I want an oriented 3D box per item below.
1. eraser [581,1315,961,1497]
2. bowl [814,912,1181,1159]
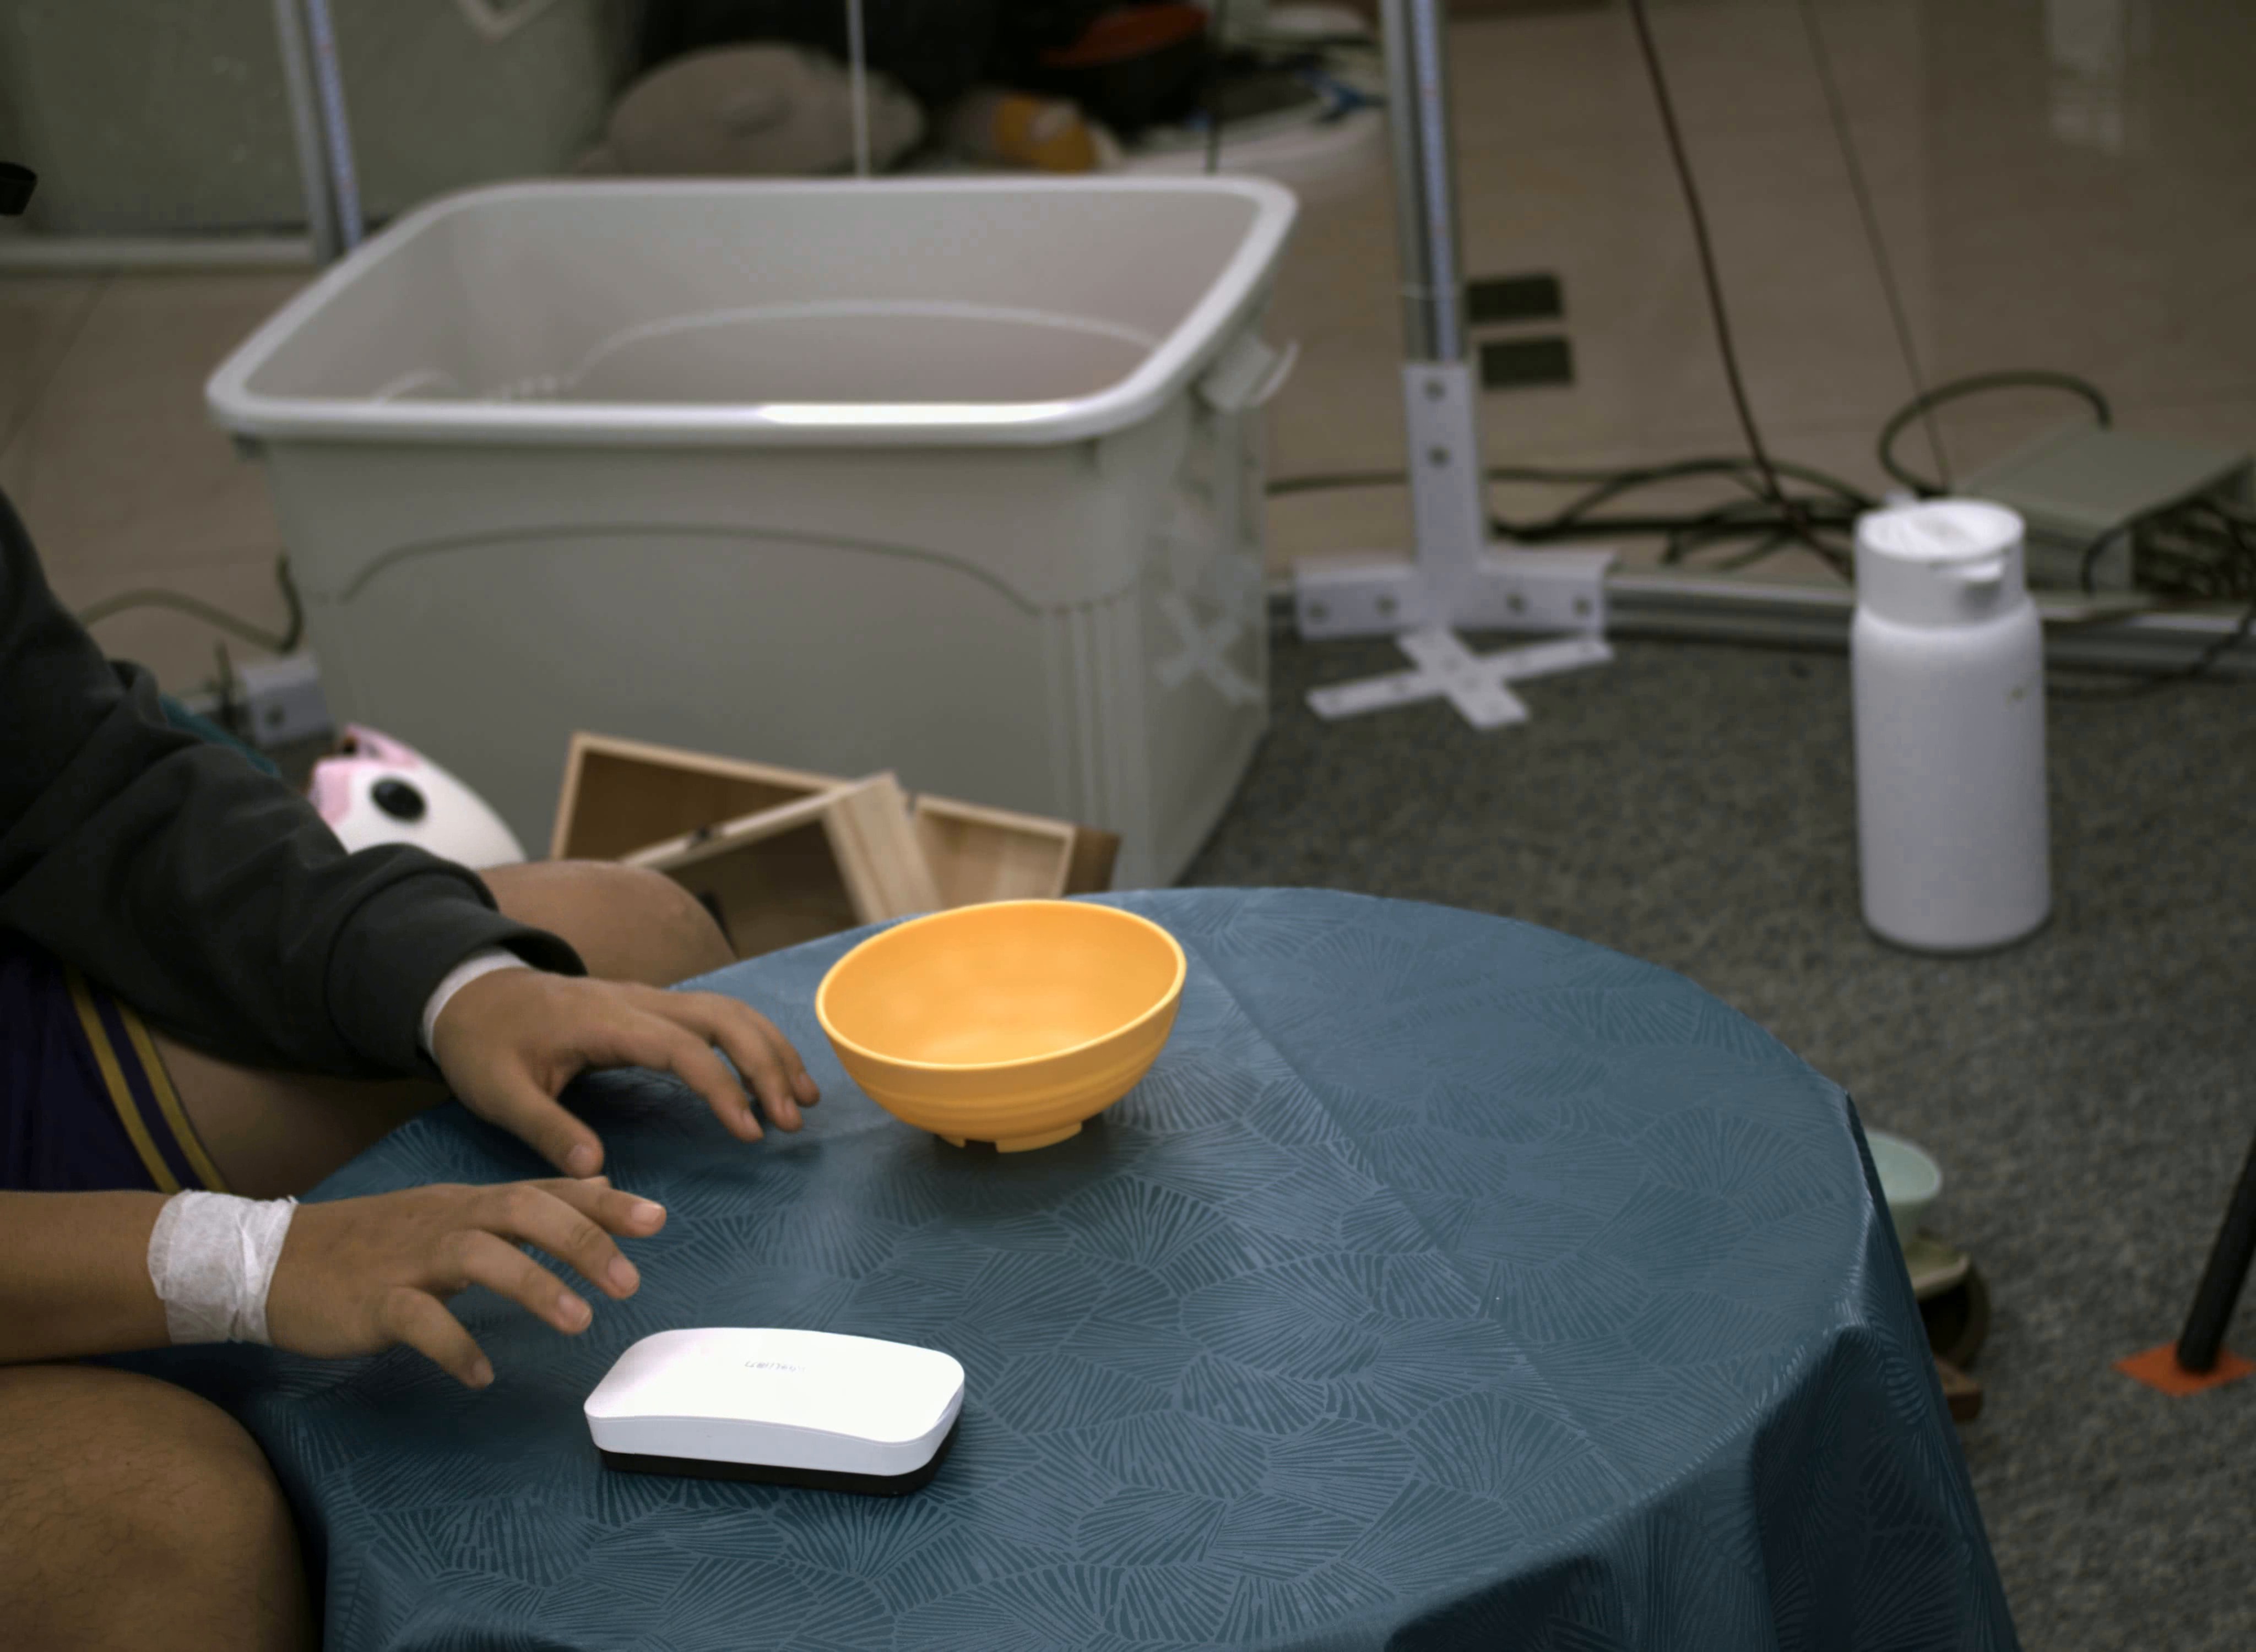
[{"bbox_3d":[-0.125,0.204,2.000,0.131,0.035,0.062,4,26,20],"label":"eraser"},{"bbox_3d":[-0.047,0.089,2.201,0.145,0.061,0.143,-7,23,3],"label":"bowl"}]
